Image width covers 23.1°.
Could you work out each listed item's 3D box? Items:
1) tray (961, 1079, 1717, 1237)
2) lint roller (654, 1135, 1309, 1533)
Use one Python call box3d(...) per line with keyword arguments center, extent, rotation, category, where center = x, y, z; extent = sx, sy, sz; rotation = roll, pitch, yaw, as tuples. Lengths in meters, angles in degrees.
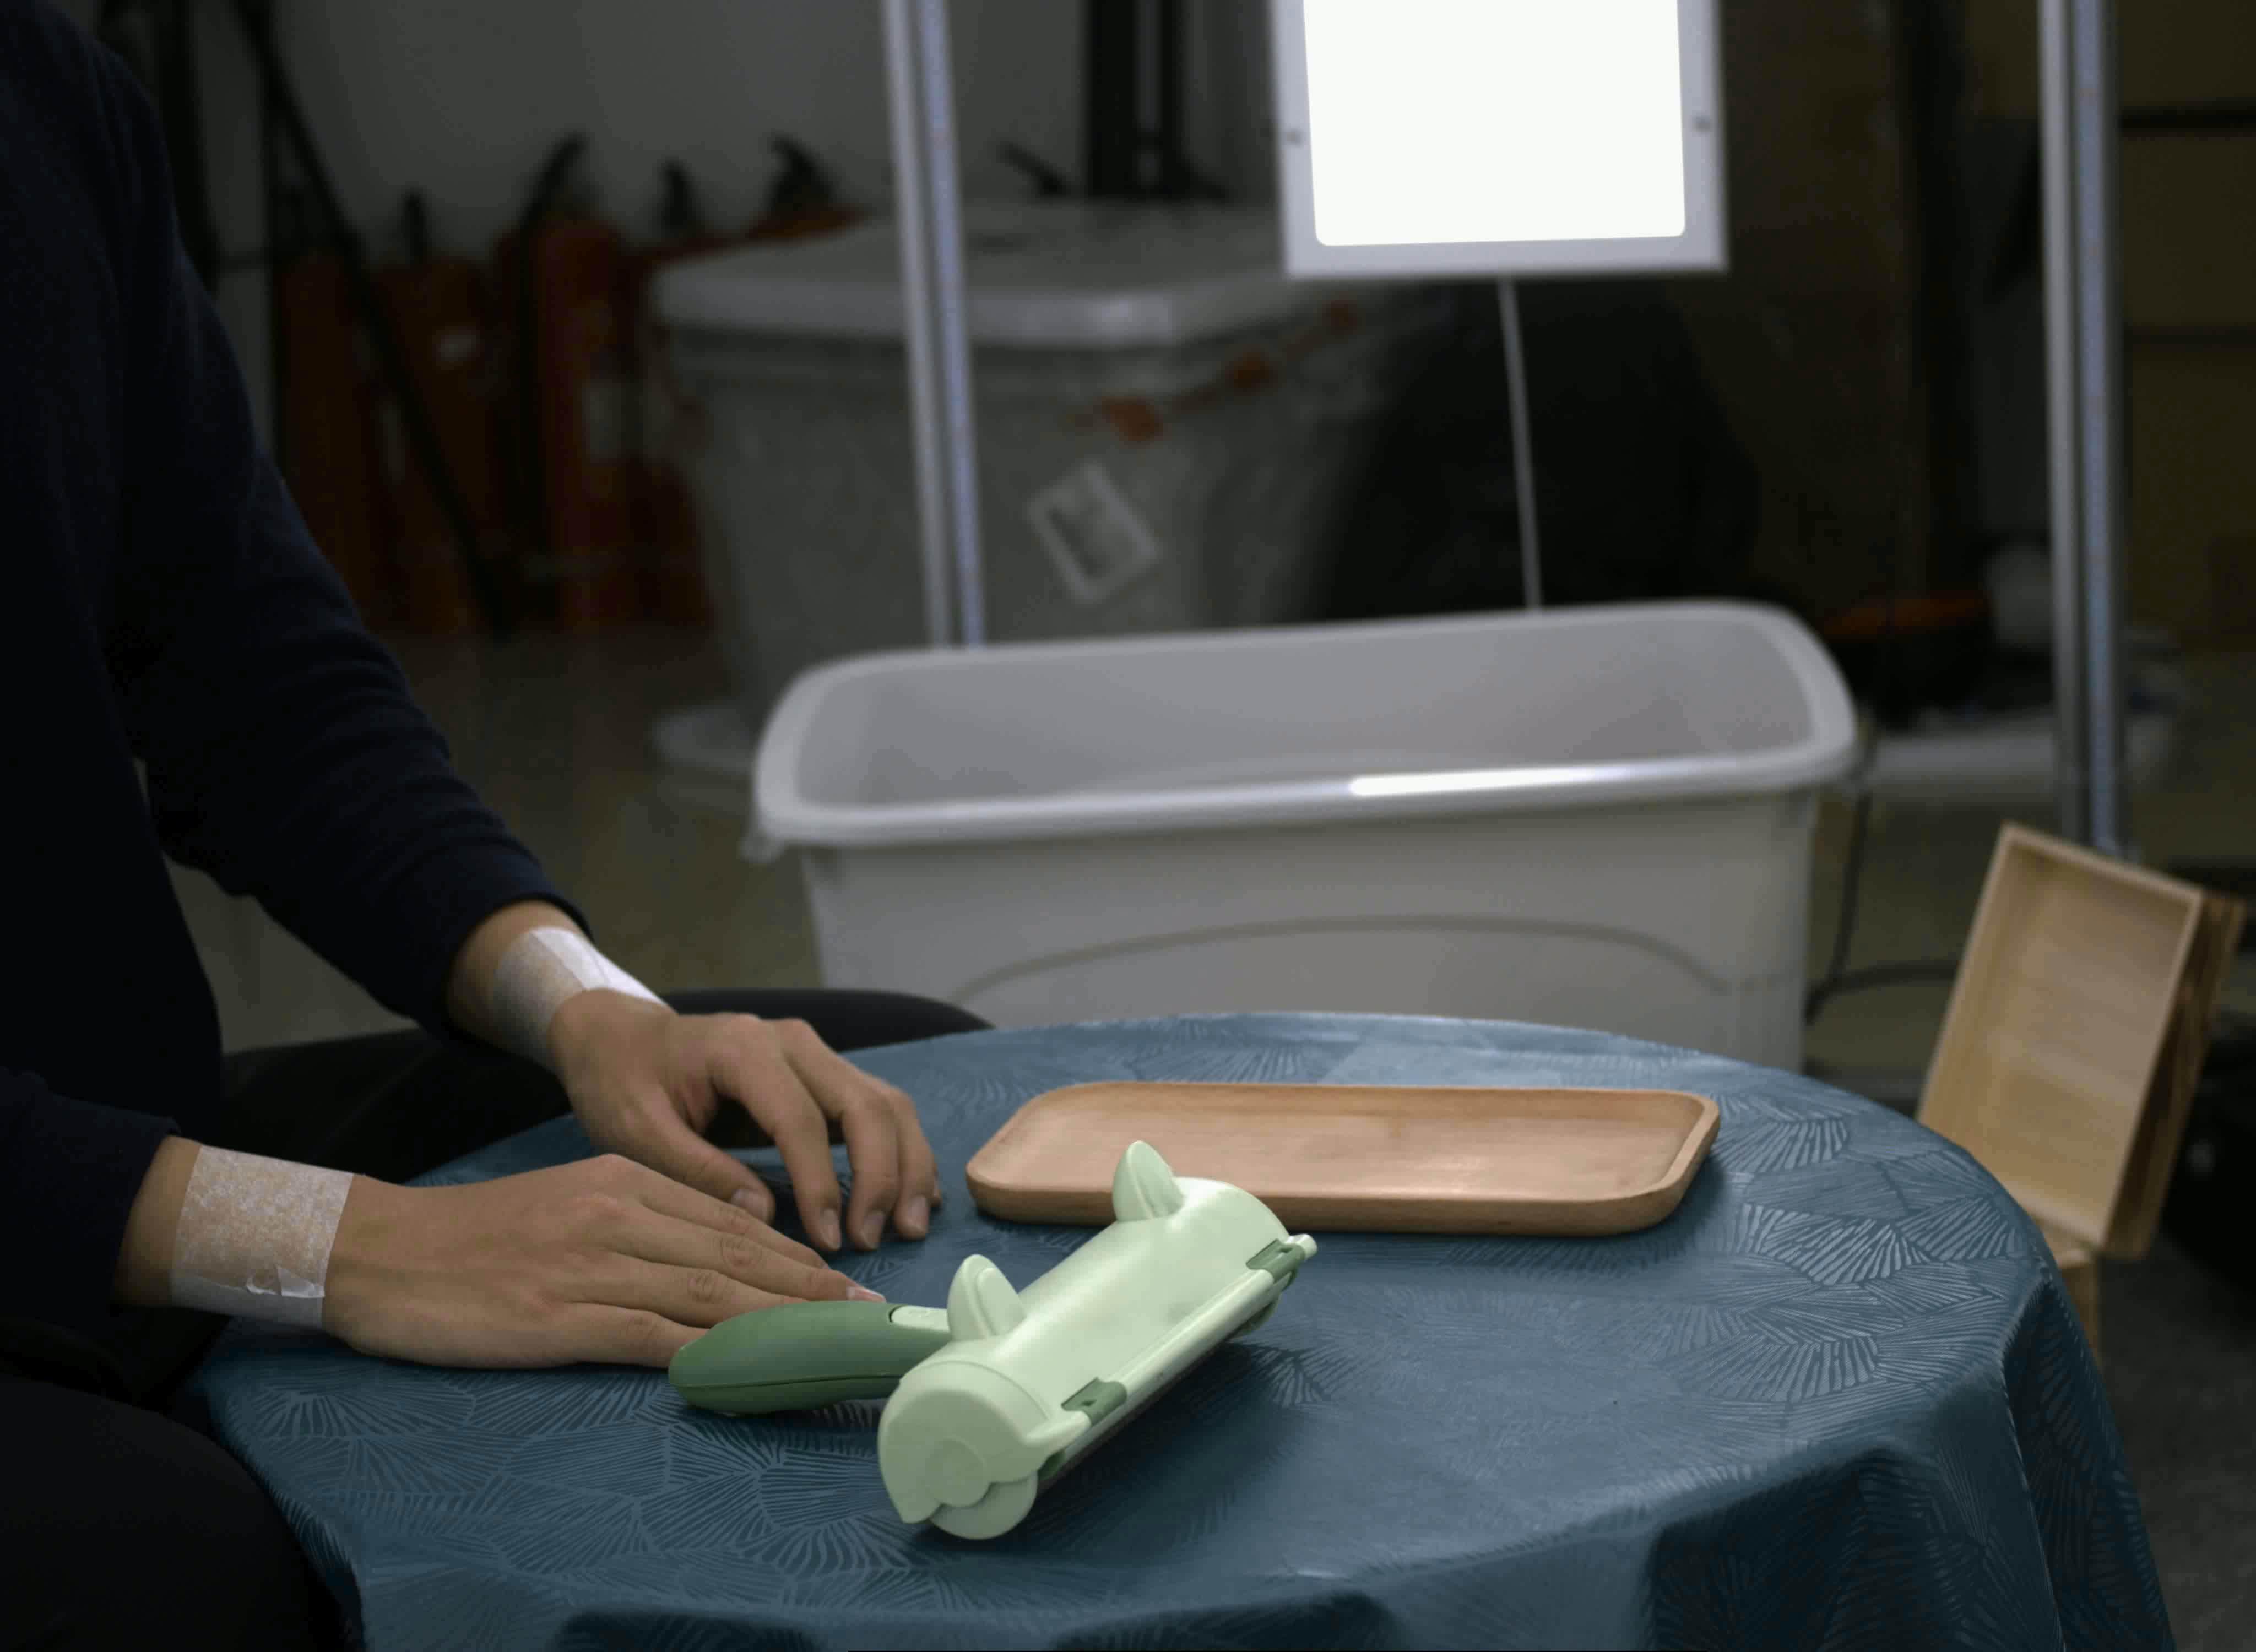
box3d(center=(0.073, 0.113, 1.889), extent=(0.254, 0.023, 0.128), rotation=(-1, 12, 19), category="tray")
box3d(center=(-0.062, 0.142, 1.676), extent=(0.186, 0.082, 0.194), rotation=(8, 17, 24), category="lint roller")
